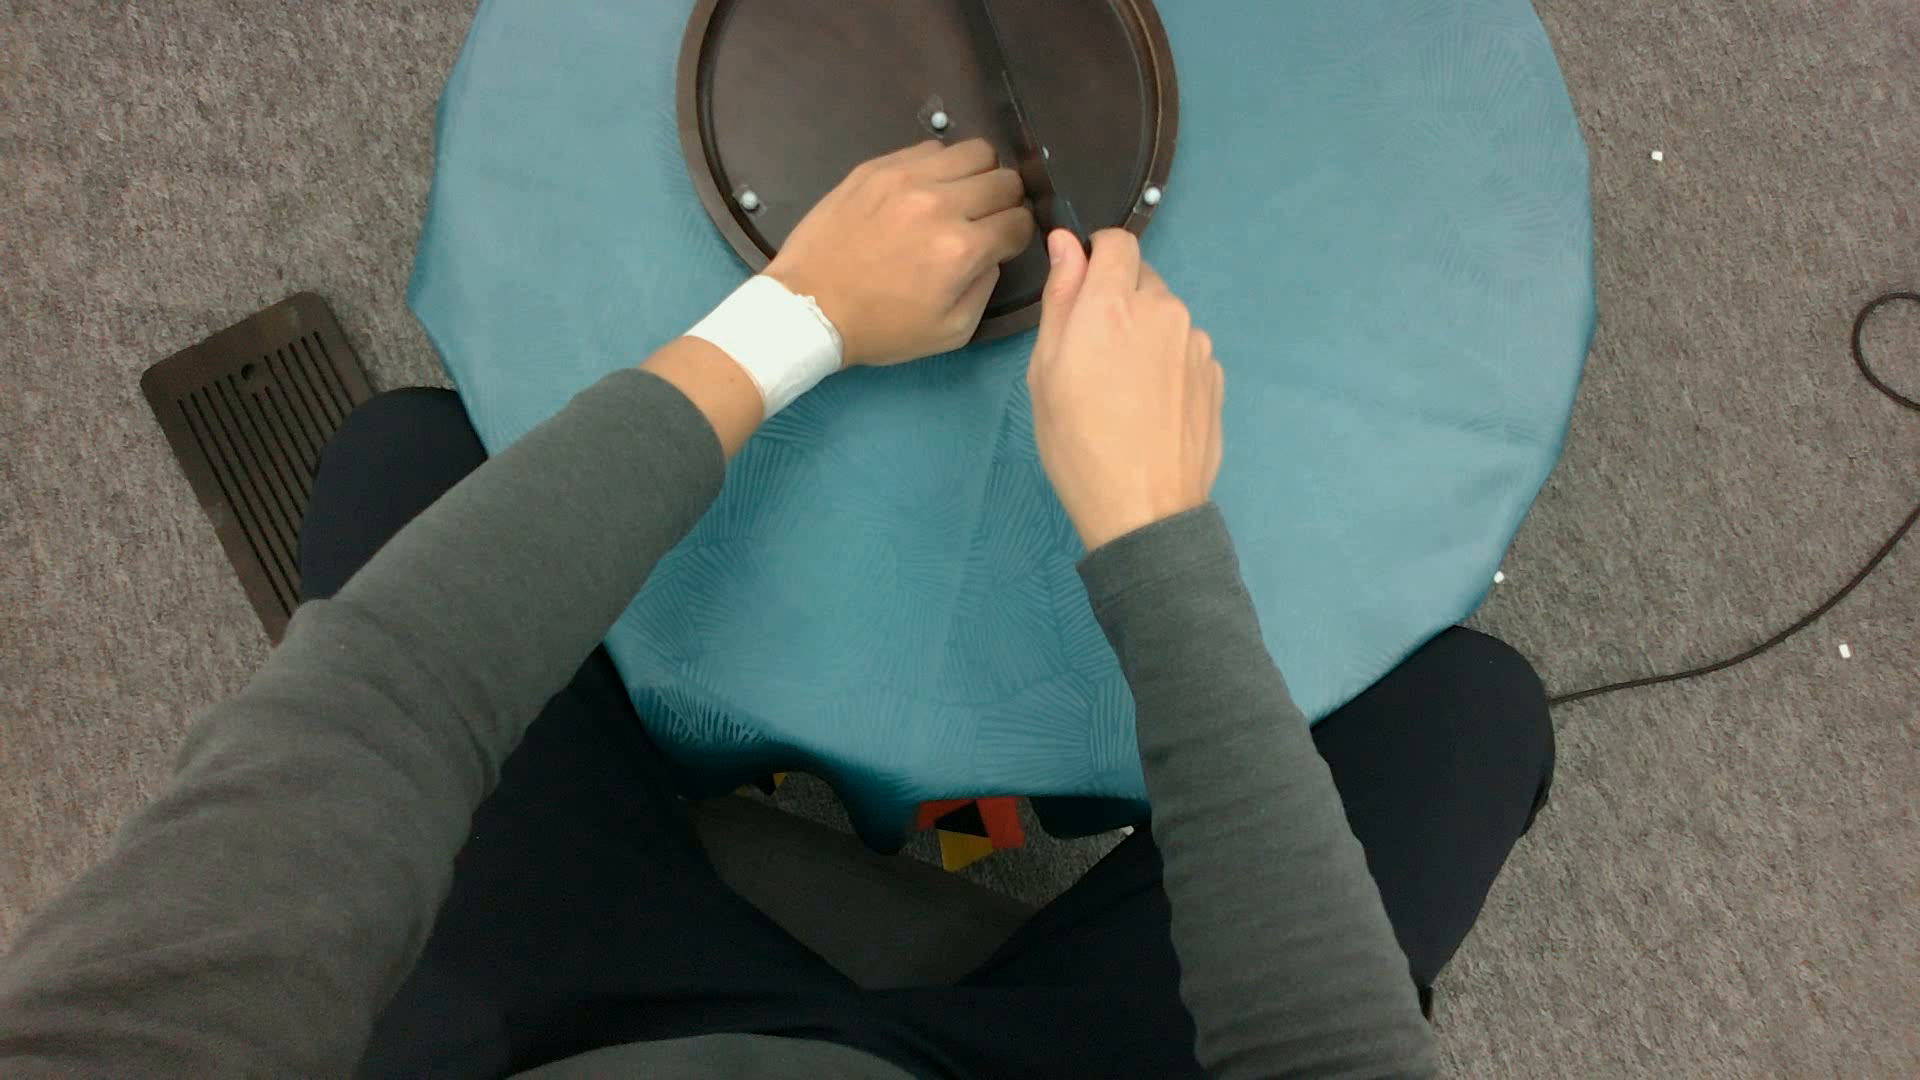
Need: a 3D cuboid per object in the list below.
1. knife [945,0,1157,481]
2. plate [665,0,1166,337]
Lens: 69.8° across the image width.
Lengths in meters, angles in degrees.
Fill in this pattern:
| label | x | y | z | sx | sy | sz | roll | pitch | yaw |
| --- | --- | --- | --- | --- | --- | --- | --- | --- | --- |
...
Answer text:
| label | x | y | z | sx | sy | sz | roll | pitch | yaw |
| --- | --- | --- | --- | --- | --- | --- | --- | --- | --- |
| knife | 0.027 | -0.169 | 0.624 | 0.021 | 0.081 | 0.302 | -20 | 82 | -2 |
| plate | -0.021 | -0.225 | 0.702 | 0.255 | 0.029 | 0.255 | 1 | 82 | -6 |
